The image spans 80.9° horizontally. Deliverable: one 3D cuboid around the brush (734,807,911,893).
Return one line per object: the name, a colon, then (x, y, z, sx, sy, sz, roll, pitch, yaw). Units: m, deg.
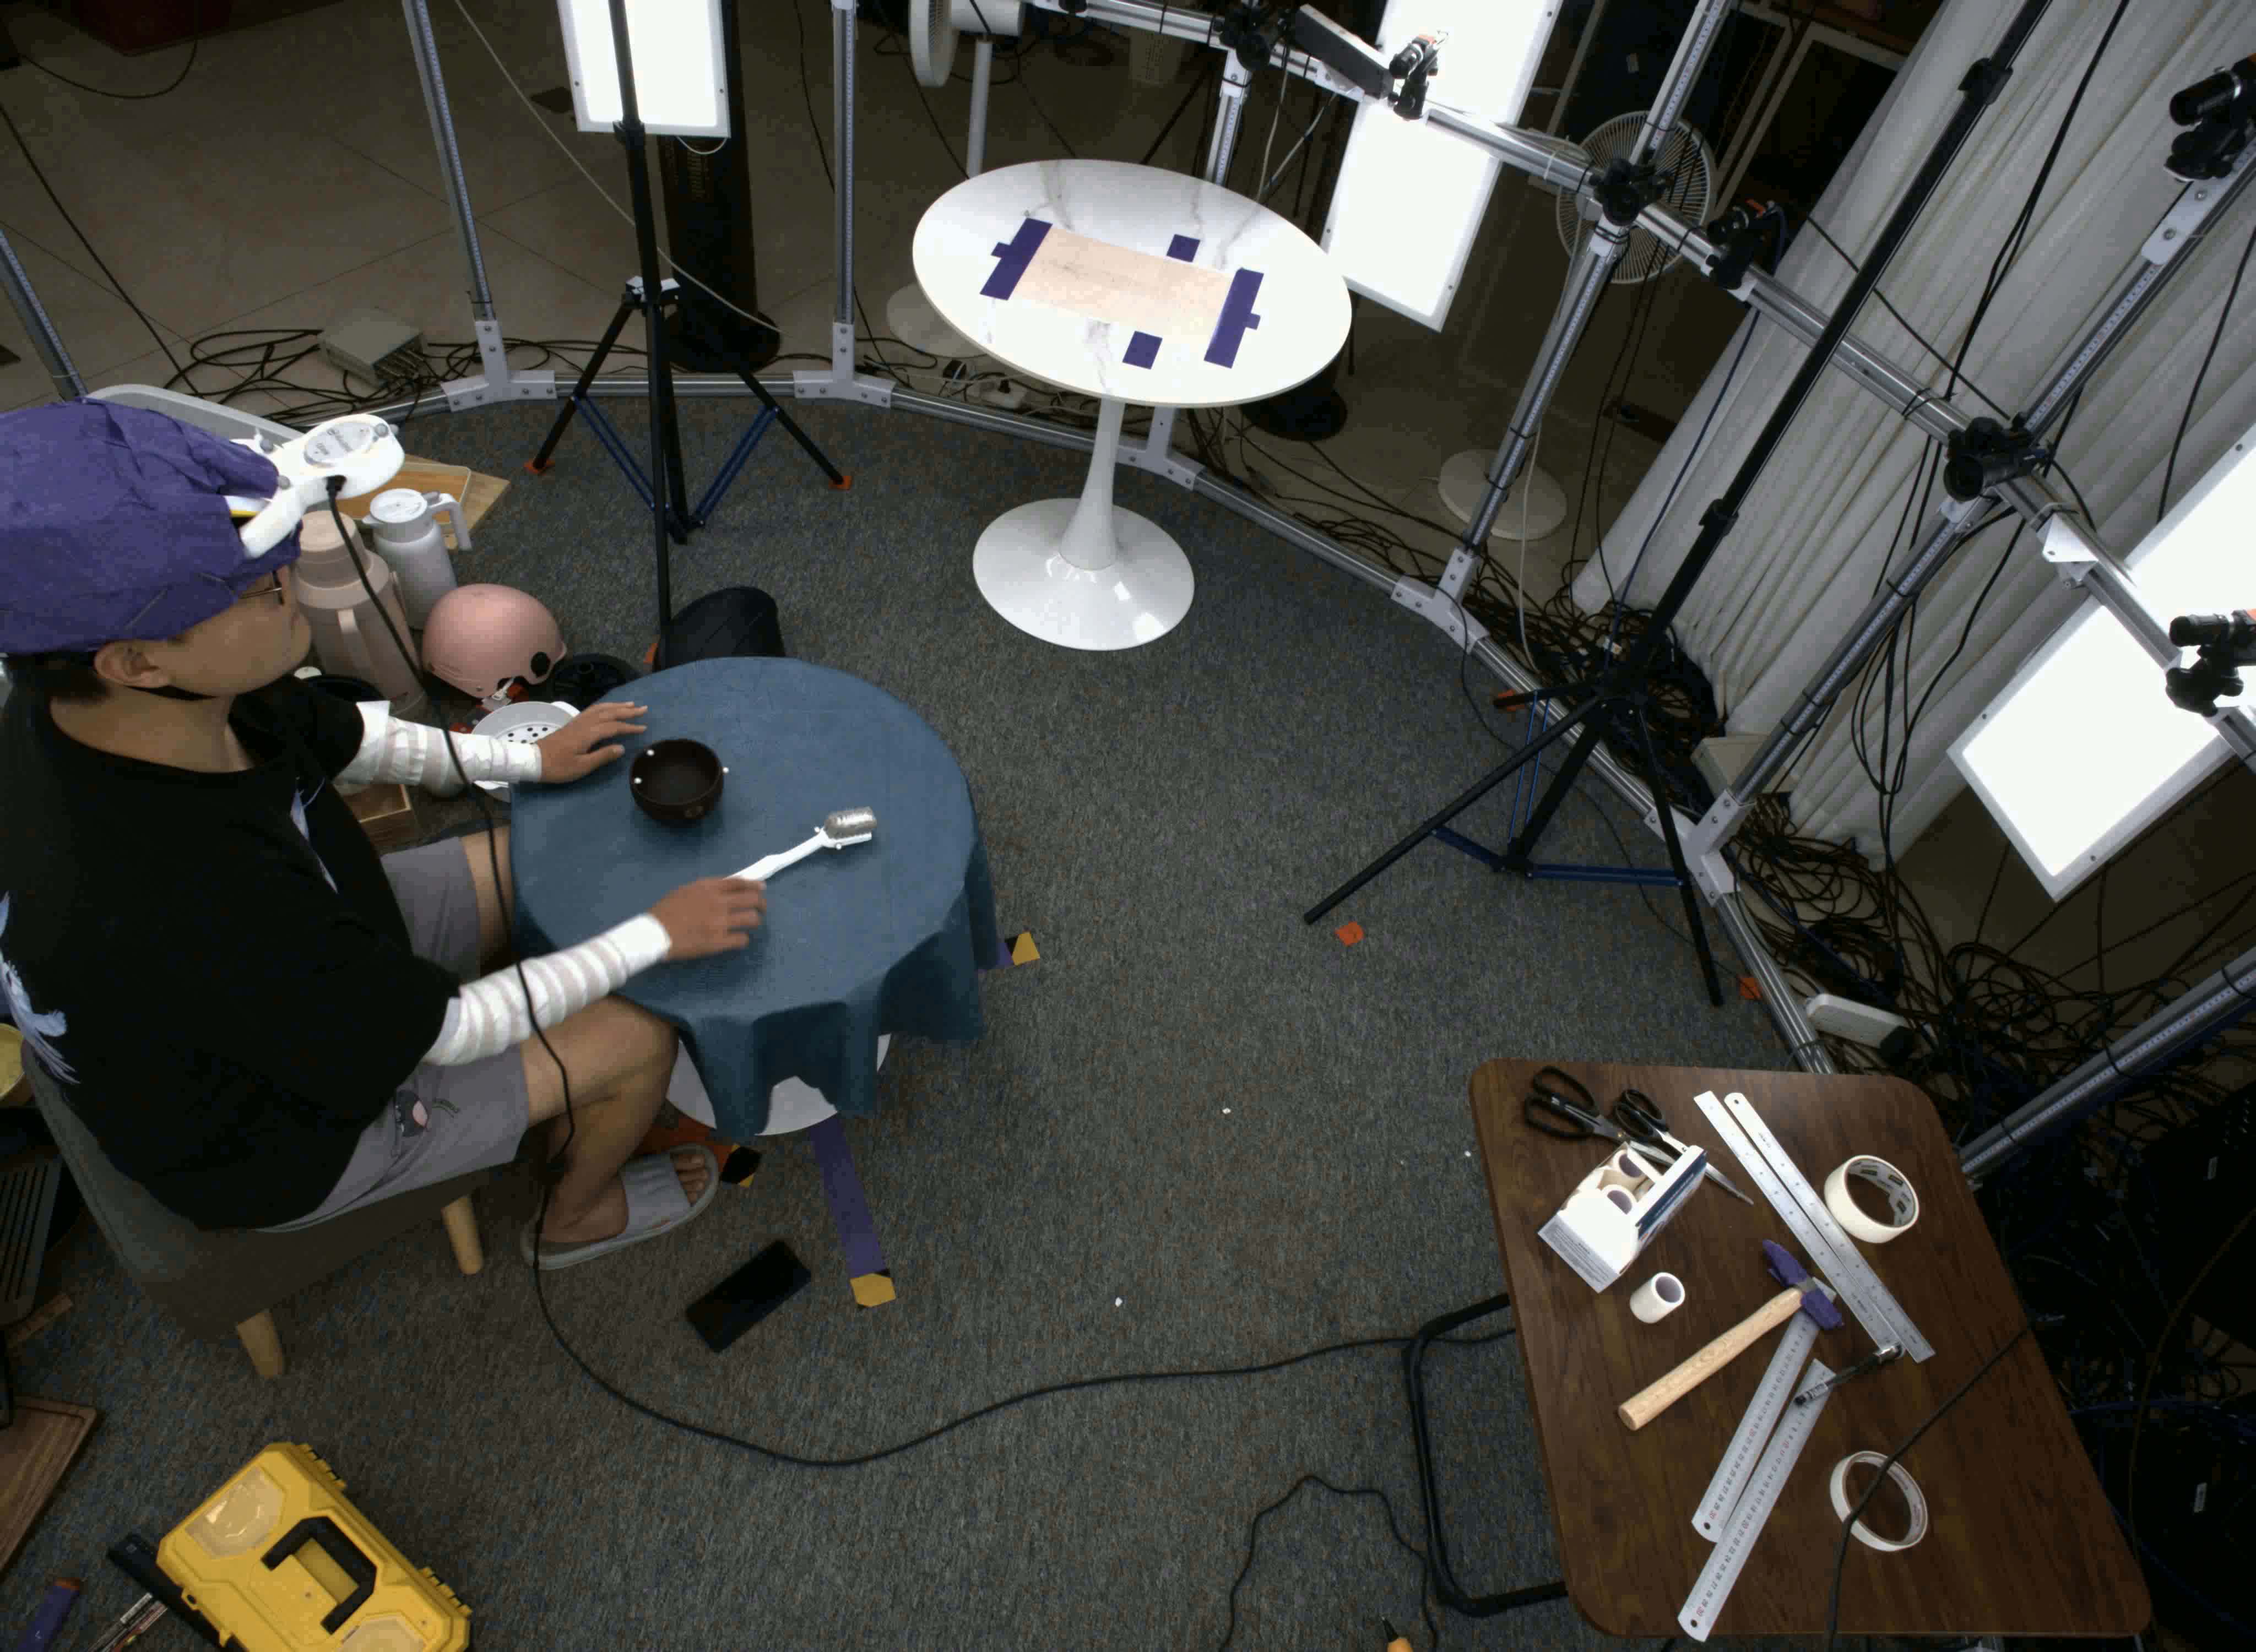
brush: (-0.397, 0.026, 1.689, 0.245, 0.051, 0.033, -20, 58, -27)

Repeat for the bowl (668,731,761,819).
bowl: (-0.544, -0.061, 1.703, 0.117, 0.071, 0.116, 6, 54, -7)
